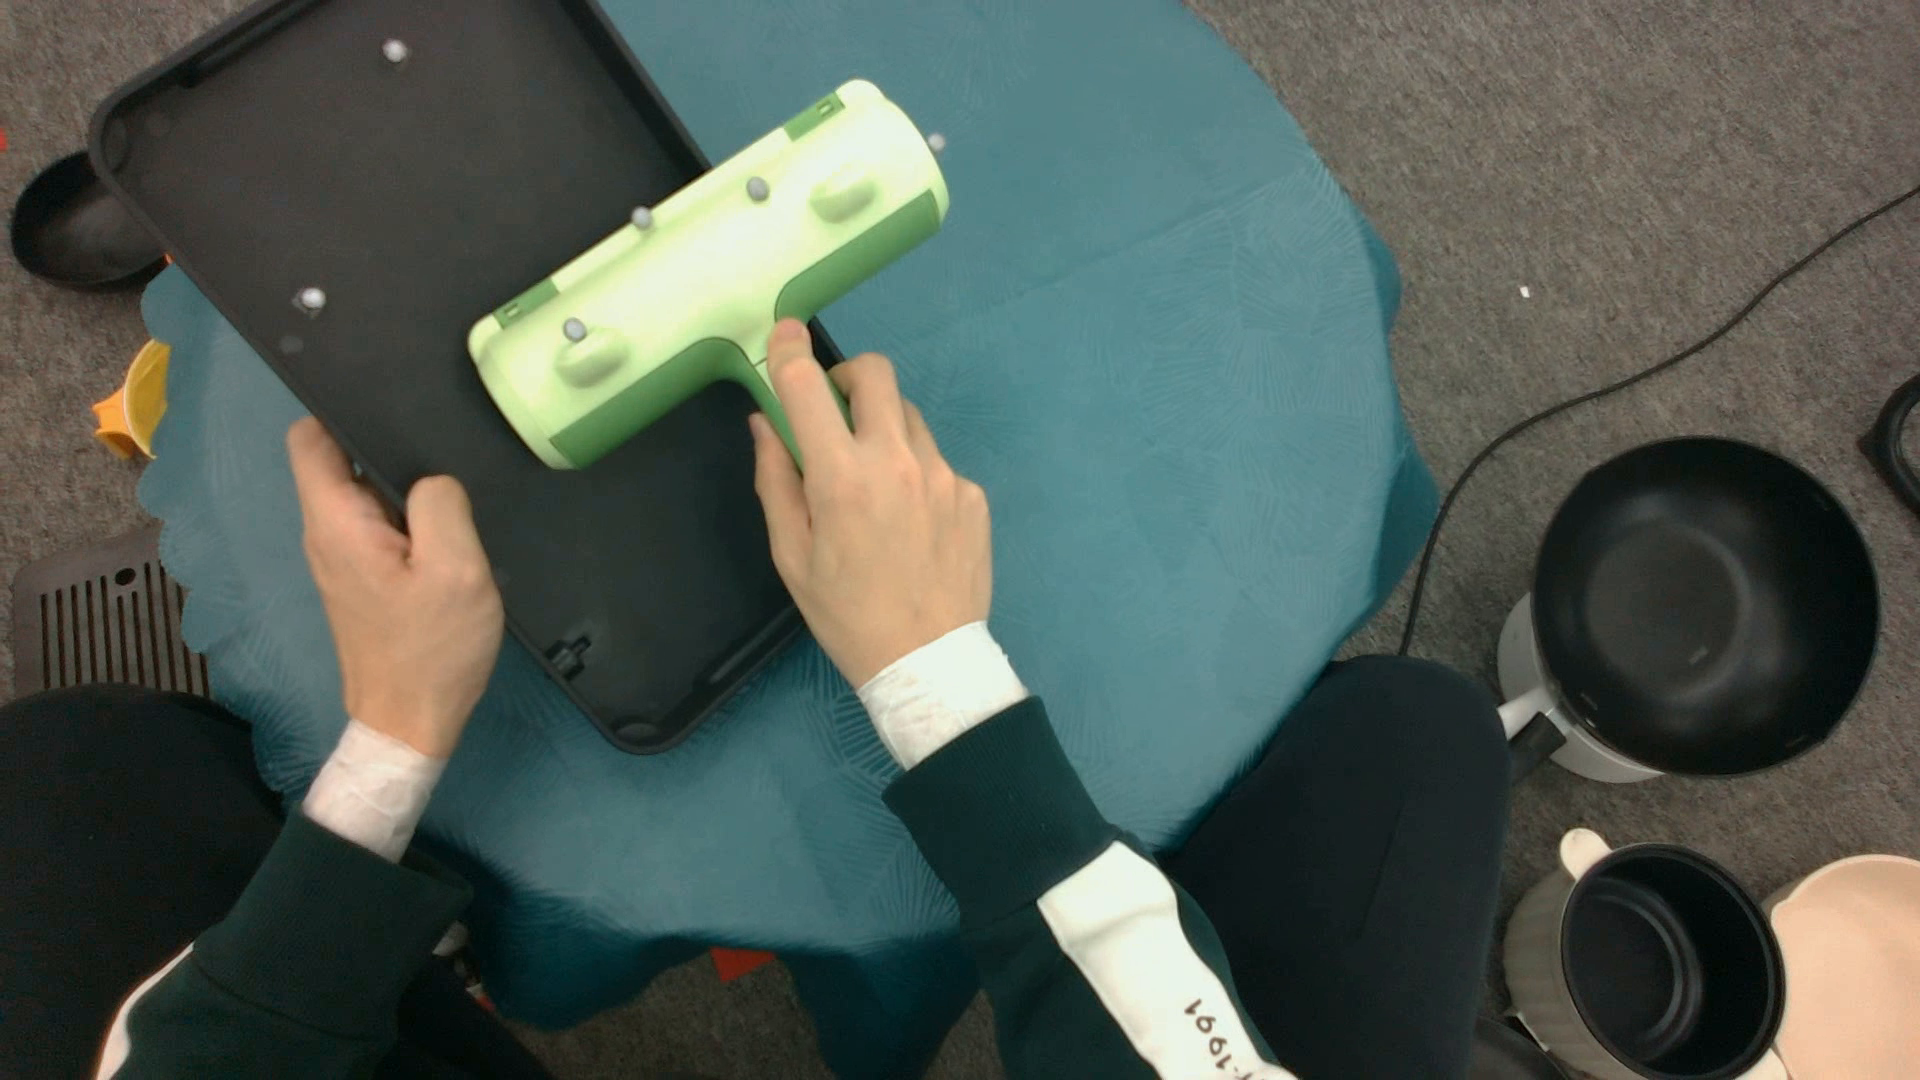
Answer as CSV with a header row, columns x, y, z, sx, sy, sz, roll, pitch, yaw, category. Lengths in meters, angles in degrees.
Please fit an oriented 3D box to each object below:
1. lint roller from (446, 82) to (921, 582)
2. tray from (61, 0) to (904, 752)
x,y,z,sx,sy,sz,roll,pitch,yaw,category
-0.075,-0.062,0.547,0.199,0.082,0.183,-36,84,-7,lint roller
-0.173,-0.080,0.566,0.185,0.037,0.317,-44,115,-19,tray
